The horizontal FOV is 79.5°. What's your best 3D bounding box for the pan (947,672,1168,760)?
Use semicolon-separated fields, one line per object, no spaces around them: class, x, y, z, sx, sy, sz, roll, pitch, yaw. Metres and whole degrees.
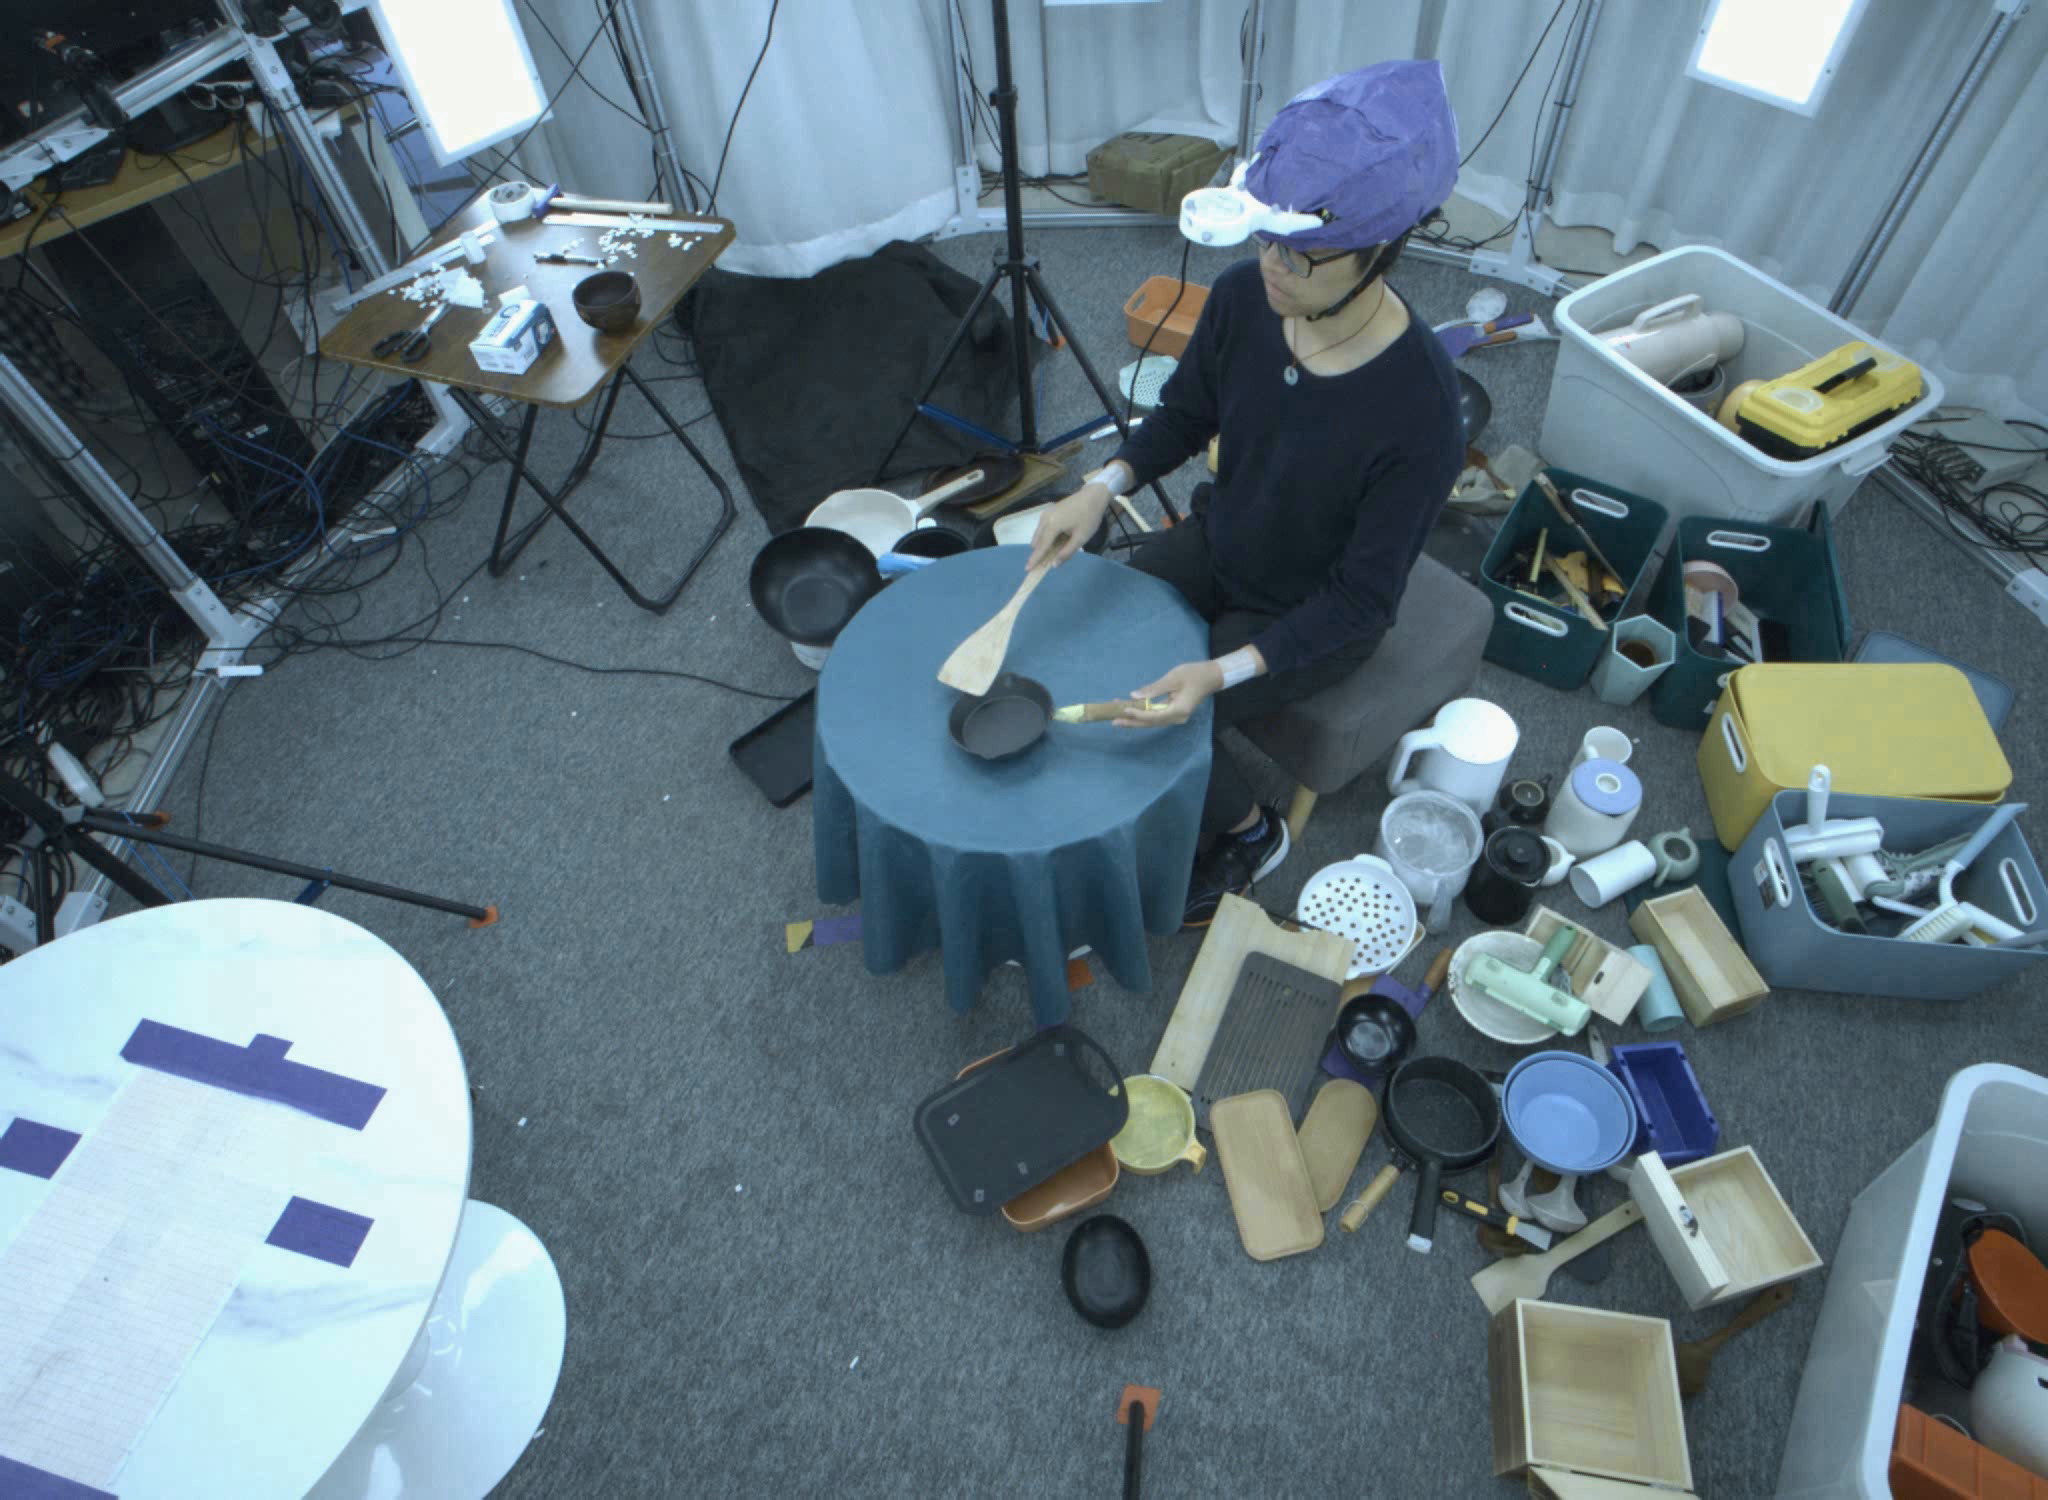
pan;0.047;-0.047;1.760;0.321;0.050;0.168;0;50;15

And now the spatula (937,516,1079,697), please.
spatula;-0.012;-0.220;1.841;0.079;0.016;0.328;32;82;7
